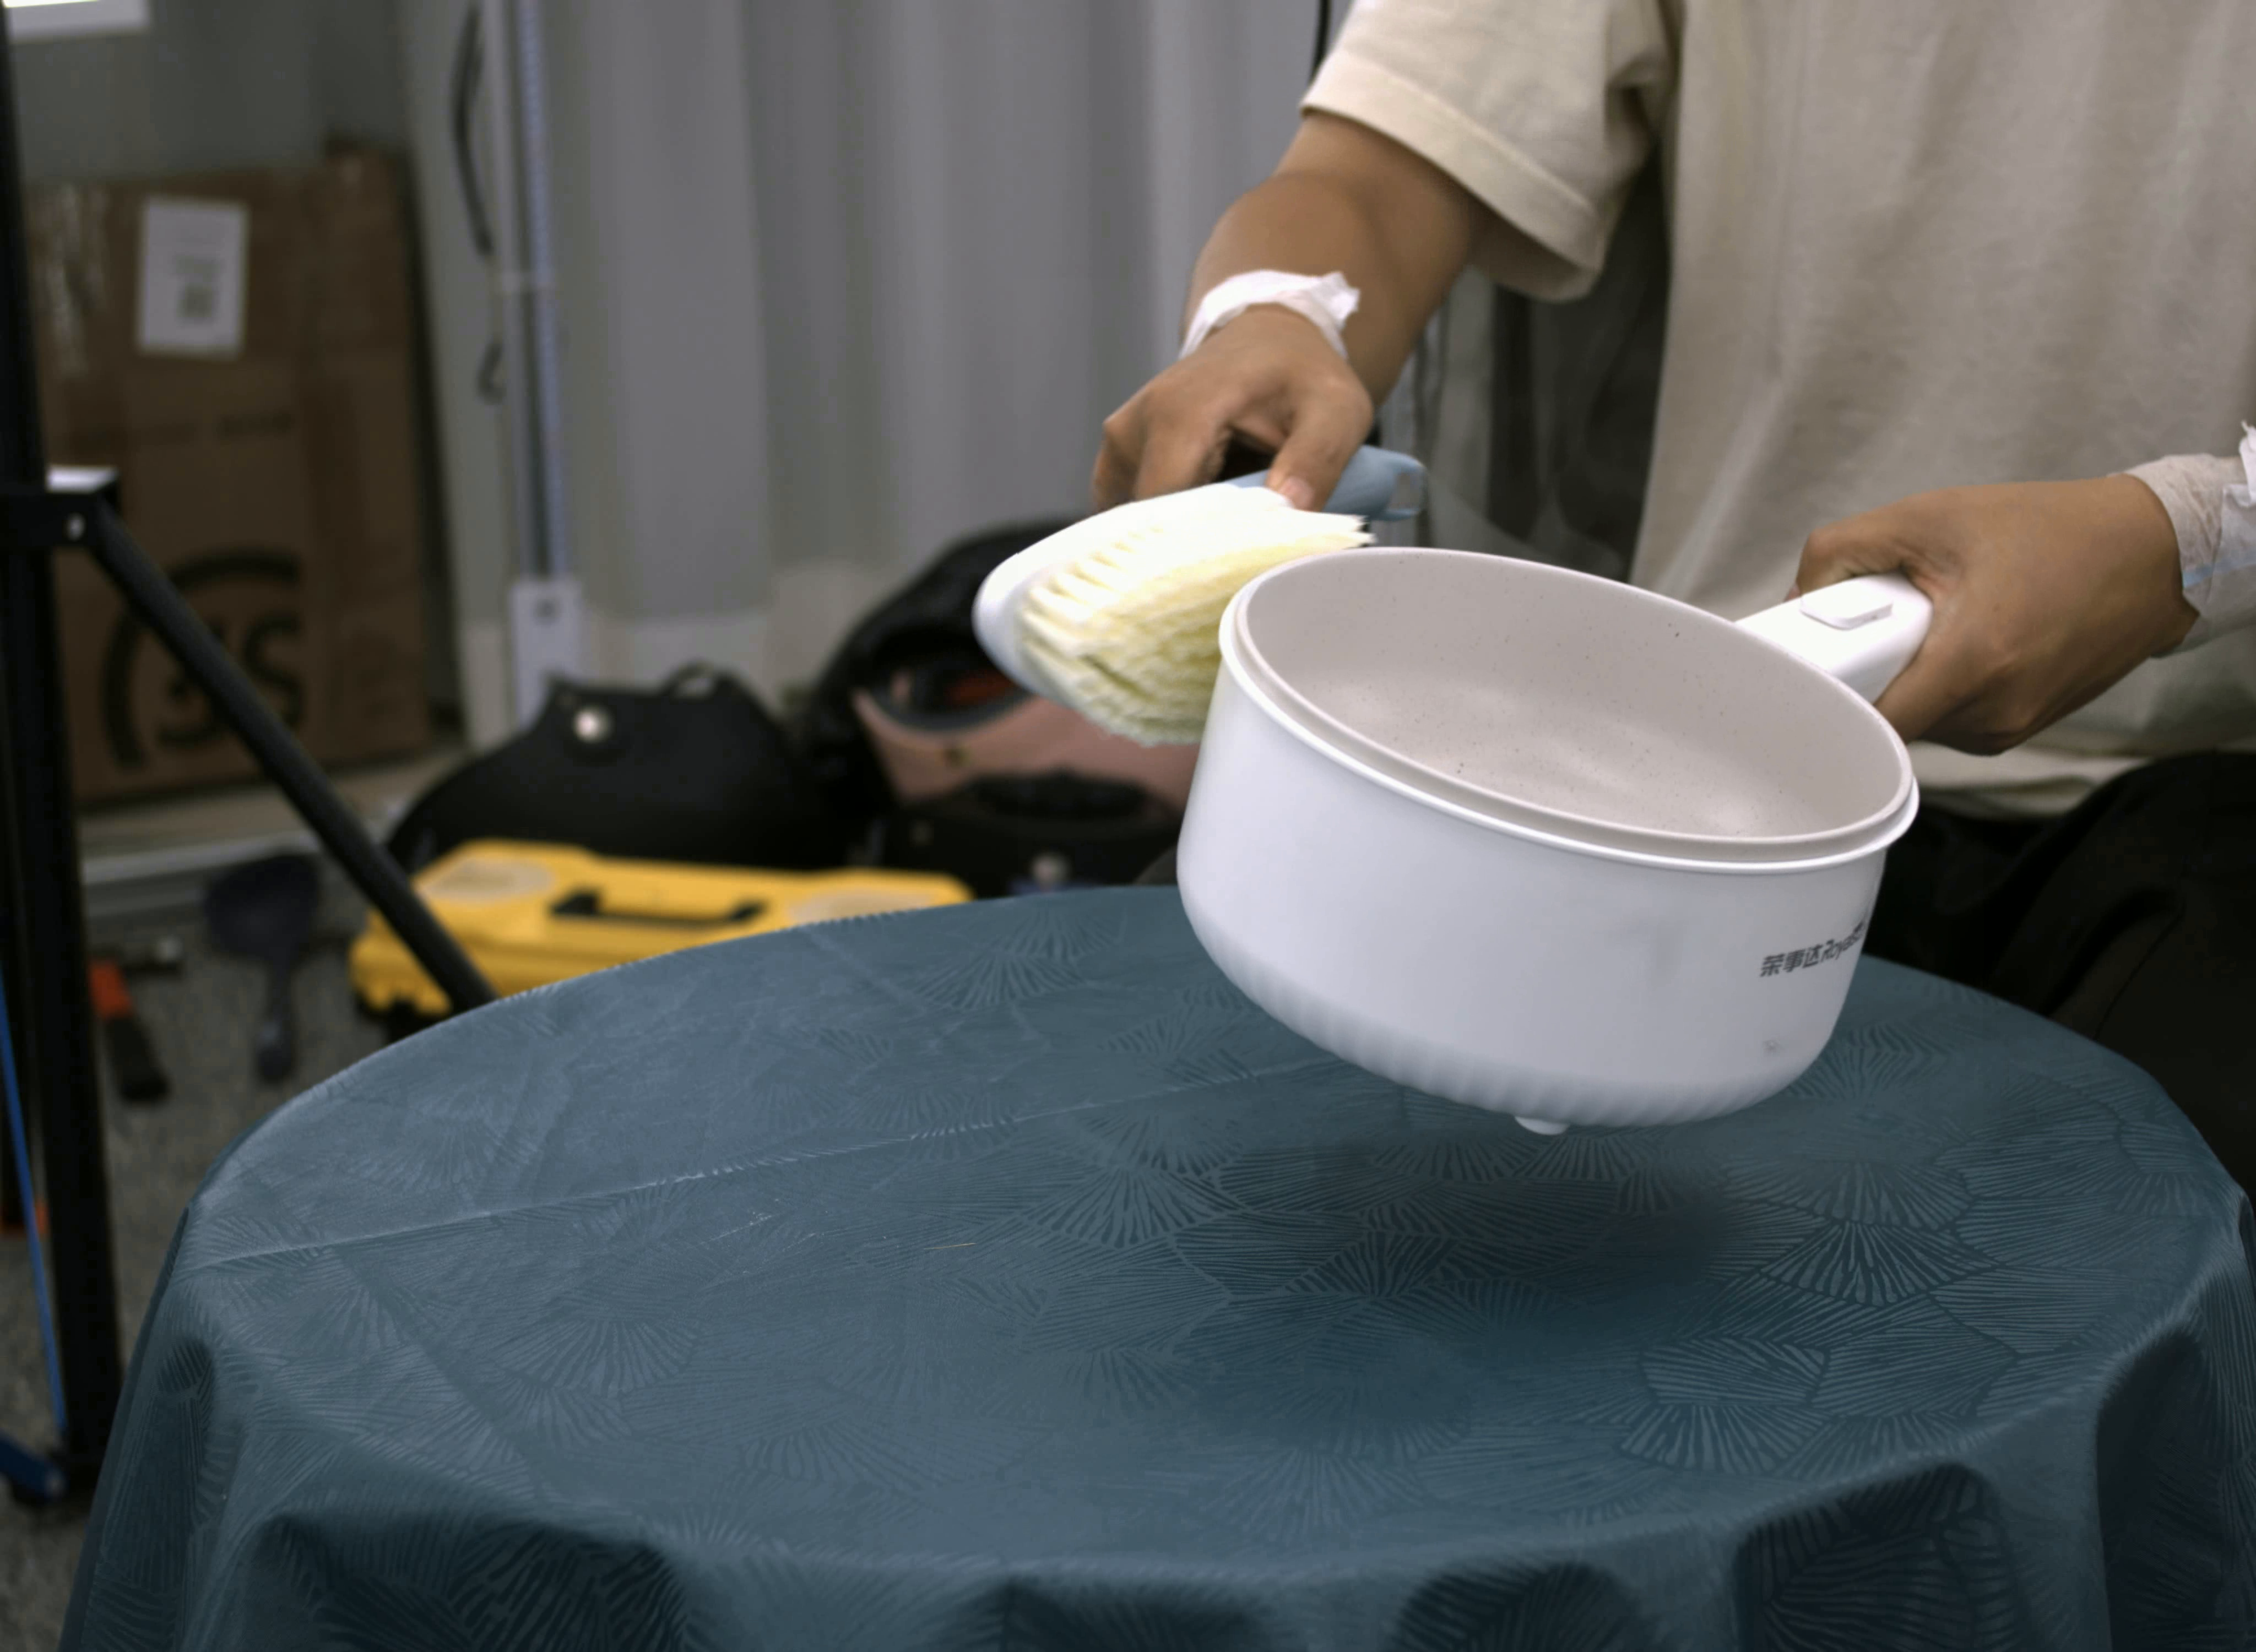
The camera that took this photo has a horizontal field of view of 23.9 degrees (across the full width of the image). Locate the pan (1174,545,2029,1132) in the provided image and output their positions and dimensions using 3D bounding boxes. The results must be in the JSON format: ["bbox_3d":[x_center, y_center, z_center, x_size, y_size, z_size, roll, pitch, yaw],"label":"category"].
[{"bbox_3d":[0.156,-0.008,1.550,0.205,0.102,0.347,26,25,30],"label":"pan"}]

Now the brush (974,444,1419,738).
[{"bbox_3d":[0.054,-0.080,1.615,0.084,0.085,0.320,-34,-6,25],"label":"brush"}]
